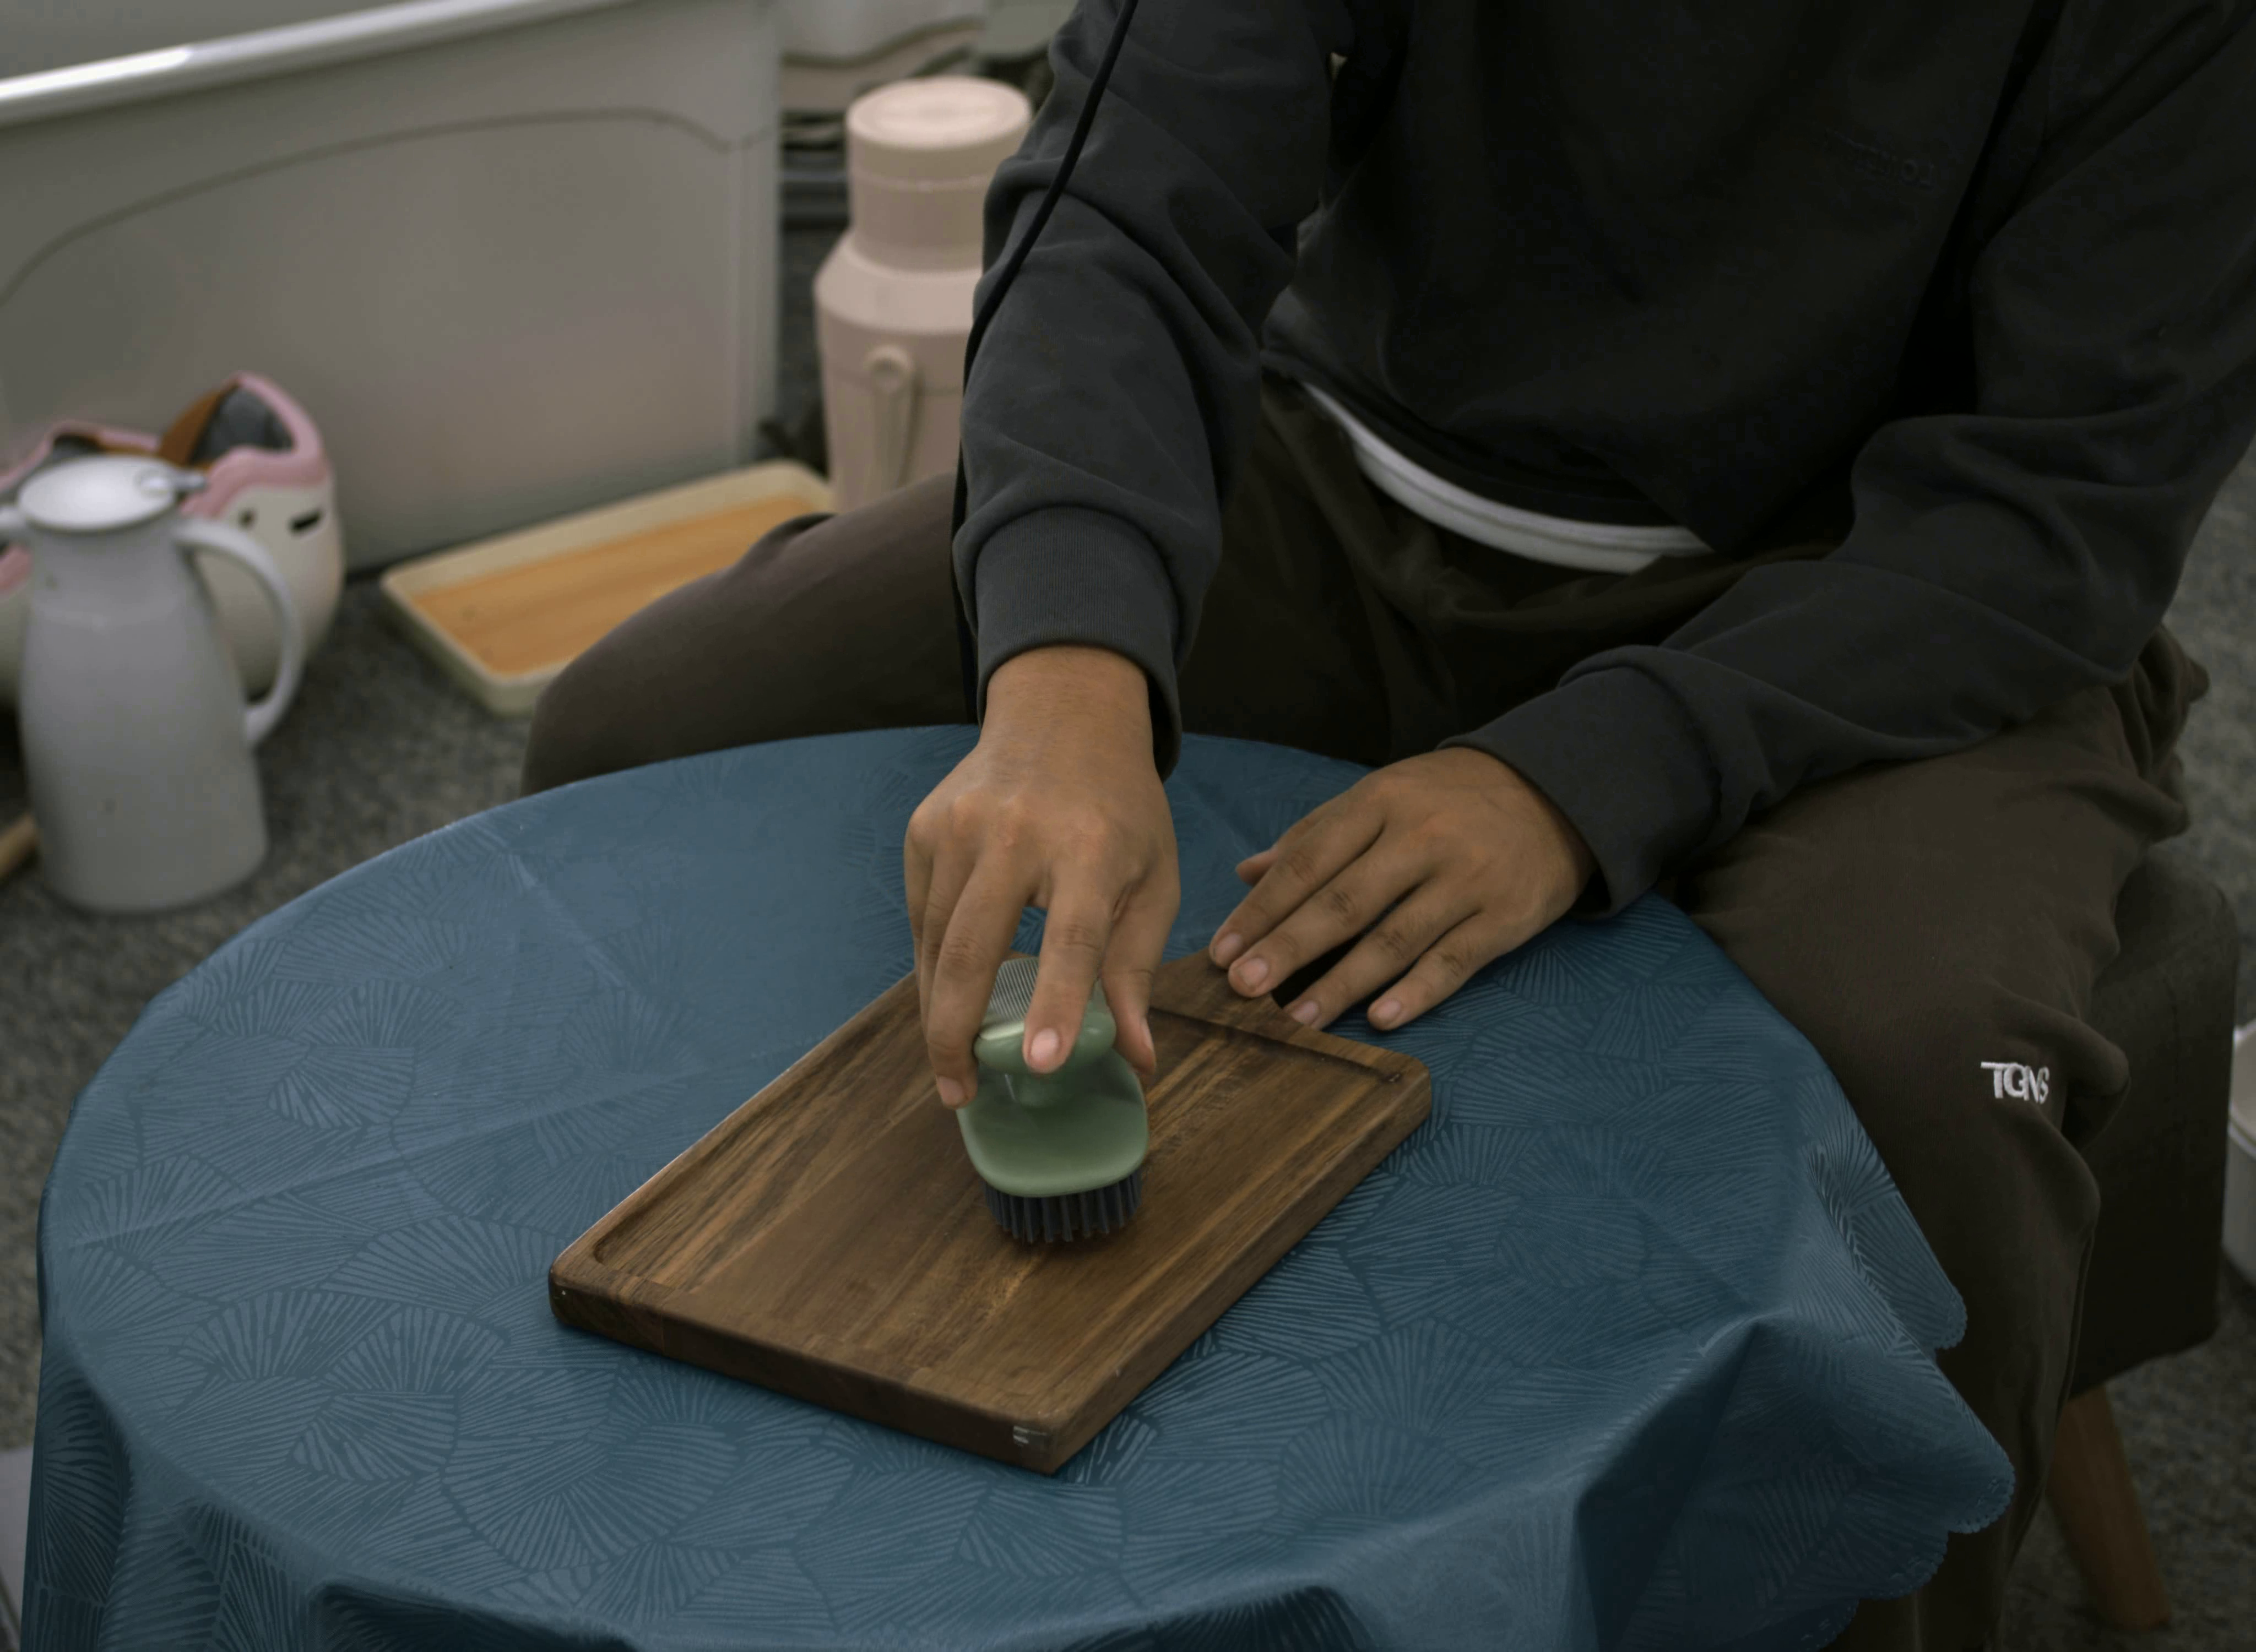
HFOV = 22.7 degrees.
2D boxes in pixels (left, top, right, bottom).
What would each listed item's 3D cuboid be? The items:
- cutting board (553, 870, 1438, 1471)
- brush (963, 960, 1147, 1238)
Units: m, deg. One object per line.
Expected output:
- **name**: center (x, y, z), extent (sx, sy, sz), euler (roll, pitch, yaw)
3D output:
- **cutting board**: center (-0.014, 0.099, 1.888), extent (0.200, 0.023, 0.358), euler (14, 31, 28)
- **brush**: center (-0.025, 0.087, 1.838), extent (0.059, 0.076, 0.123), euler (-5, 8, -3)
